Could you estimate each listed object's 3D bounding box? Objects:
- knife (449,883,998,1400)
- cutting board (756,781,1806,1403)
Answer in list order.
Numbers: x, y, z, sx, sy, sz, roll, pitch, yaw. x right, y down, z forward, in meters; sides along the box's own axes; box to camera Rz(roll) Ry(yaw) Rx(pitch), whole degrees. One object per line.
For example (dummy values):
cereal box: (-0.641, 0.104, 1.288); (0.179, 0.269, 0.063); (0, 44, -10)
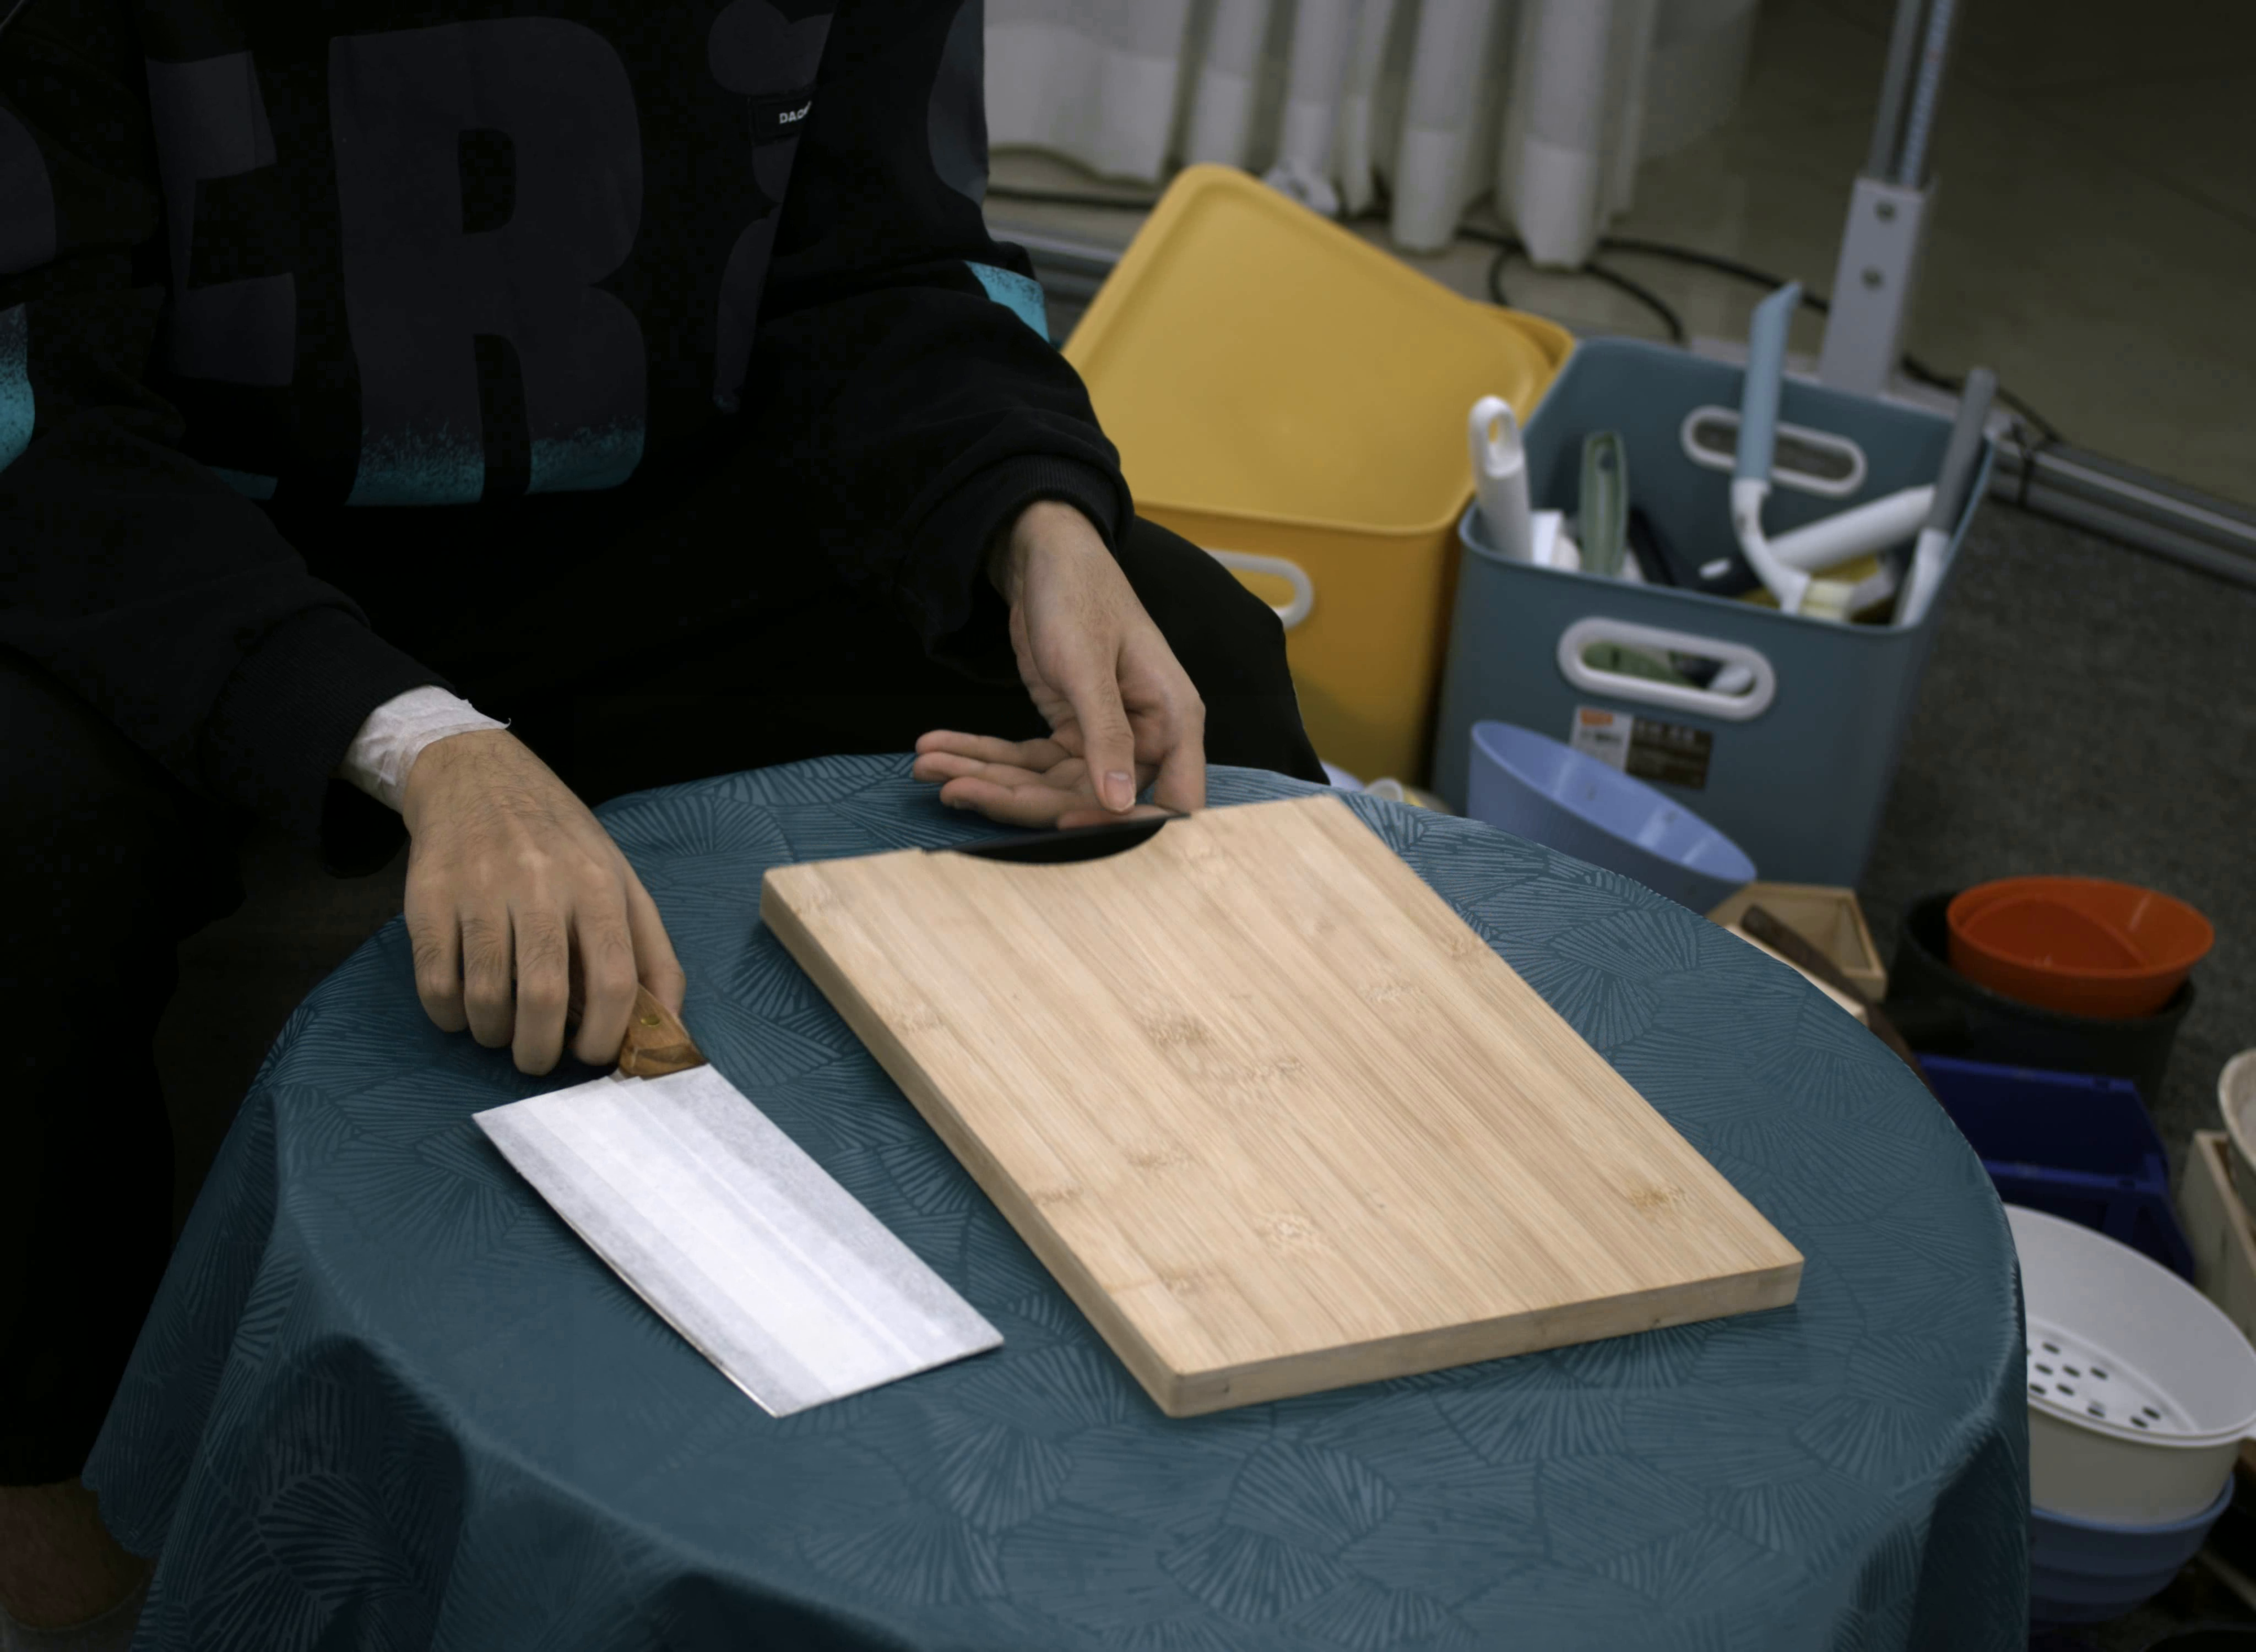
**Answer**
knife: (-0.162, 0.105, 1.786); (0.092, 0.021, 0.308); (-15, 37, -33)
cutting board: (0.045, 0.085, 1.864); (0.249, 0.023, 0.352); (-8, 31, -26)
